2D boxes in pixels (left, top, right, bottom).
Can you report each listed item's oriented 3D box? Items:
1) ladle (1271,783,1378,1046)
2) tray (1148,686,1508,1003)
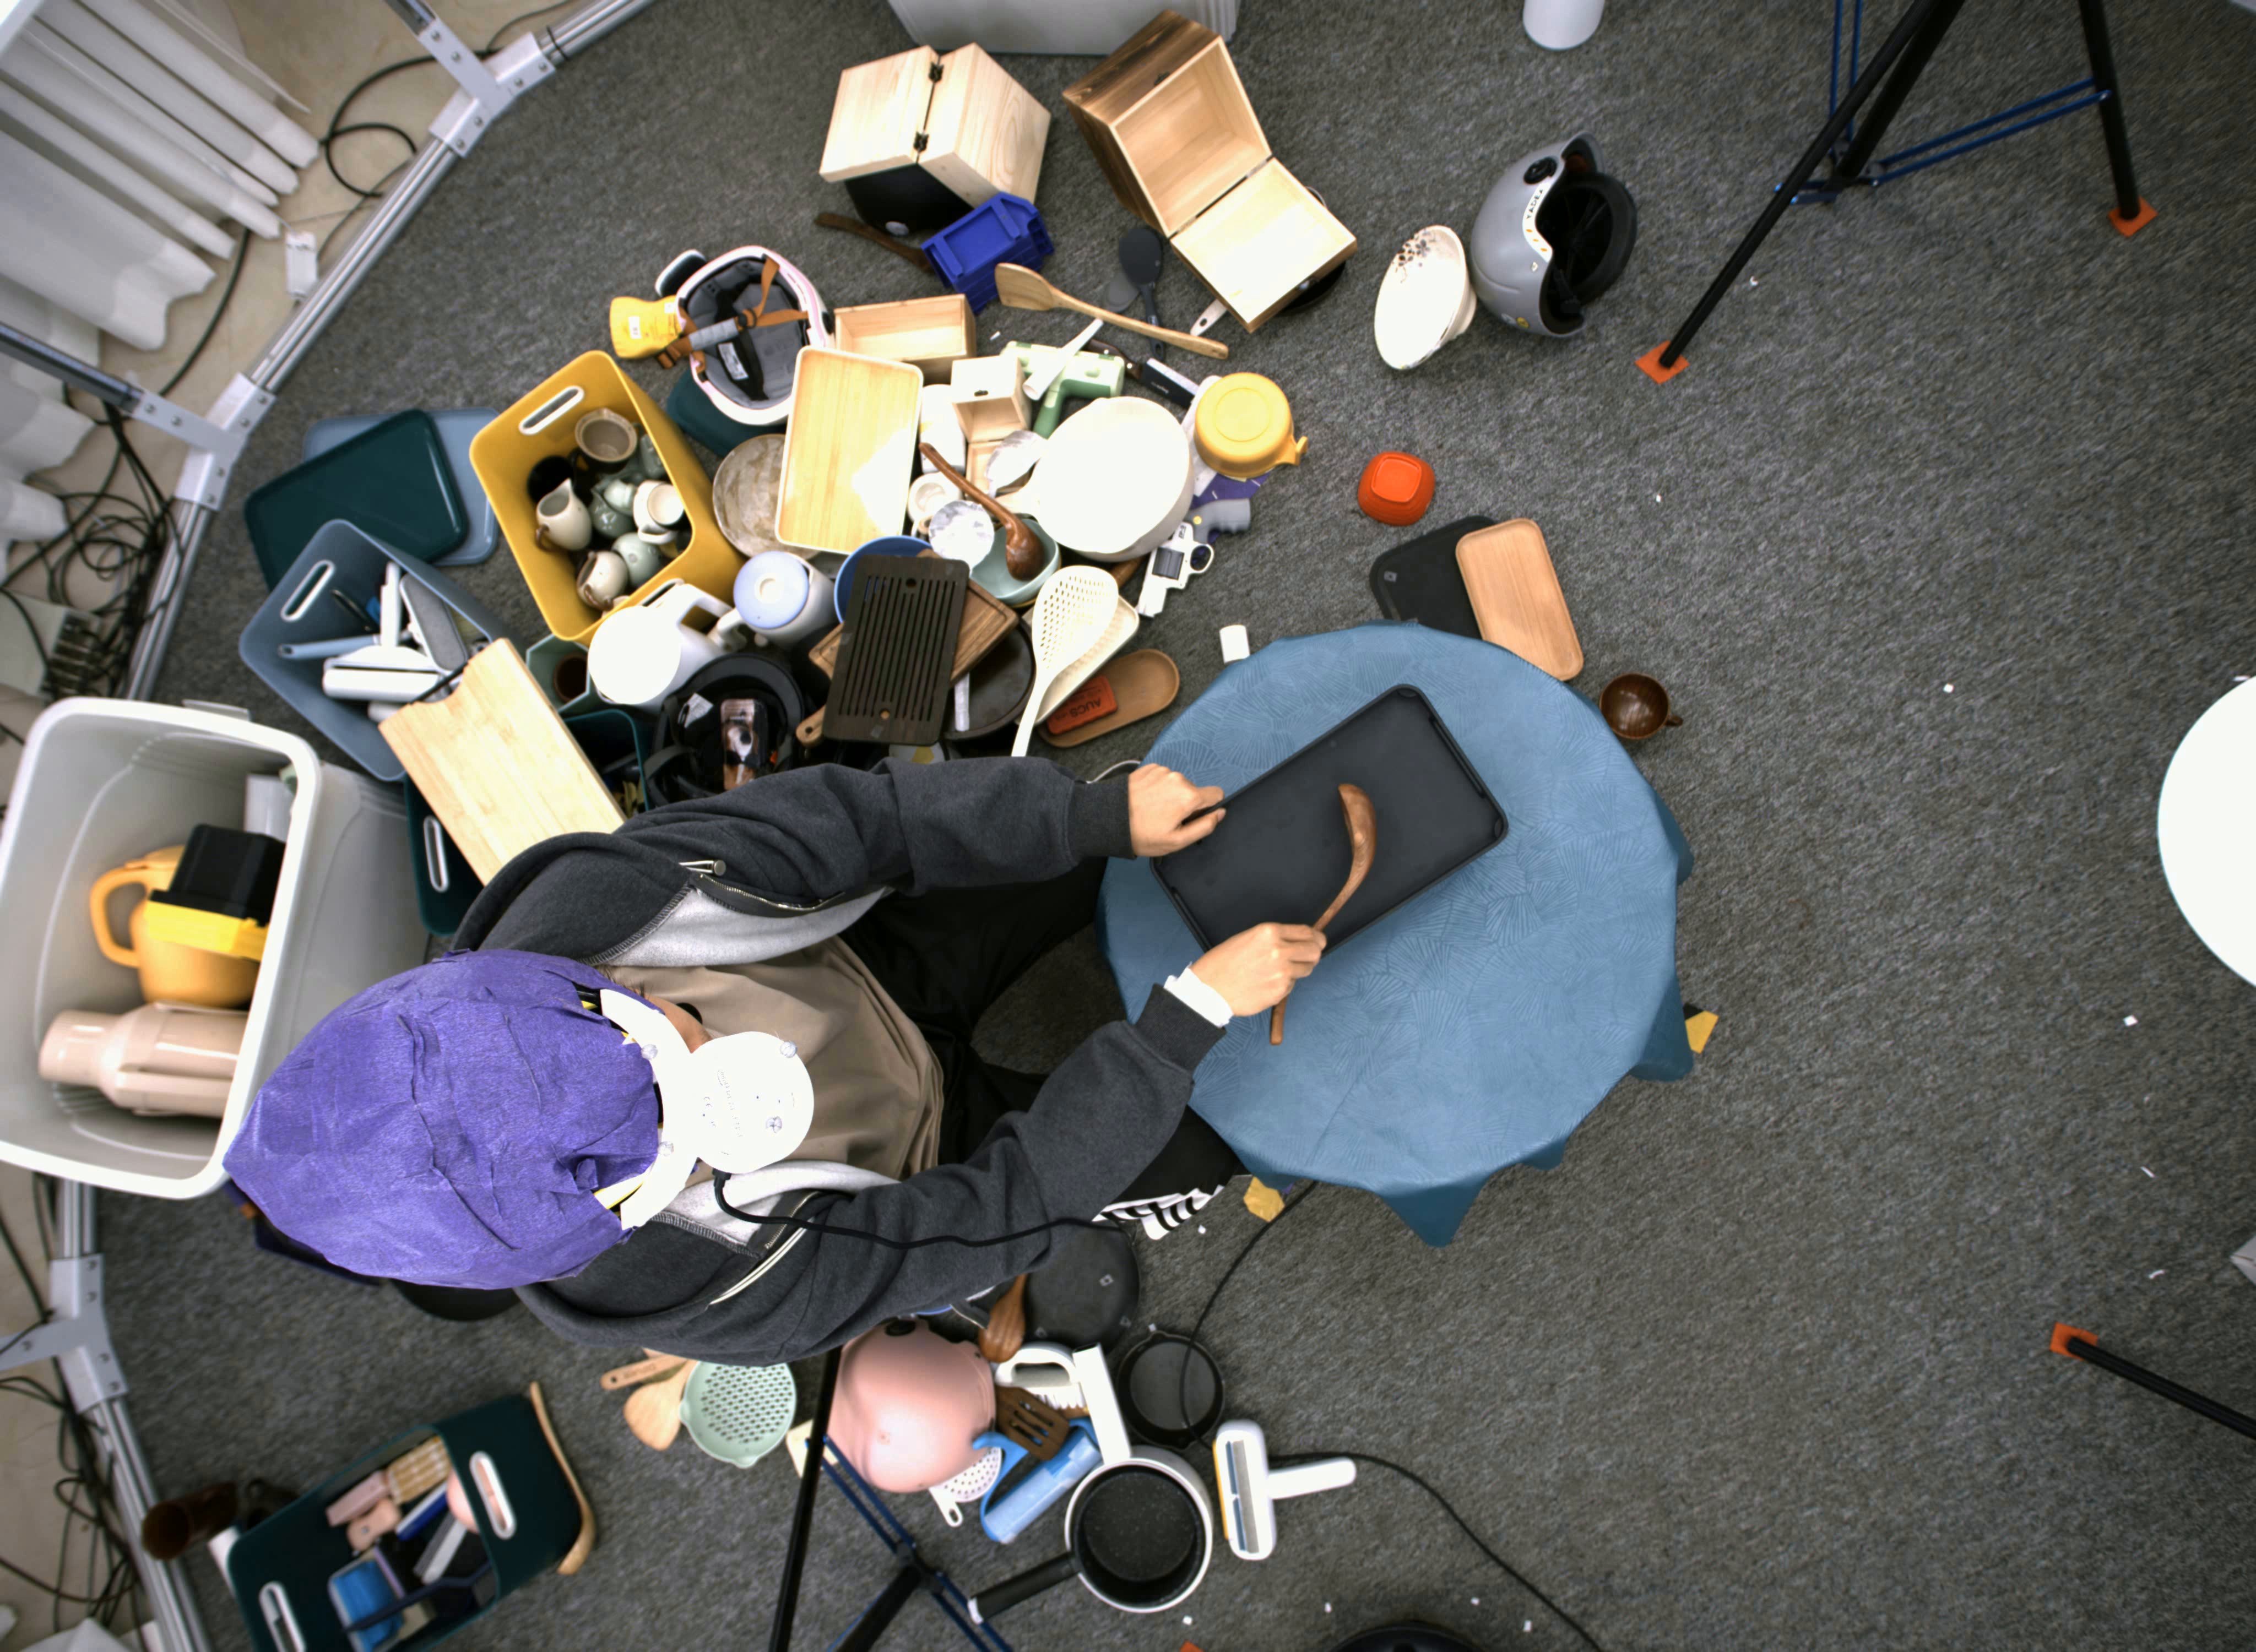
[{"bbox_3d":[0.176,0.082,1.330,0.065,0.076,0.260,27,90,11],"label":"ladle"},{"bbox_3d":[0.194,0.018,1.357,0.320,0.037,0.184,-34,88,8],"label":"tray"}]
